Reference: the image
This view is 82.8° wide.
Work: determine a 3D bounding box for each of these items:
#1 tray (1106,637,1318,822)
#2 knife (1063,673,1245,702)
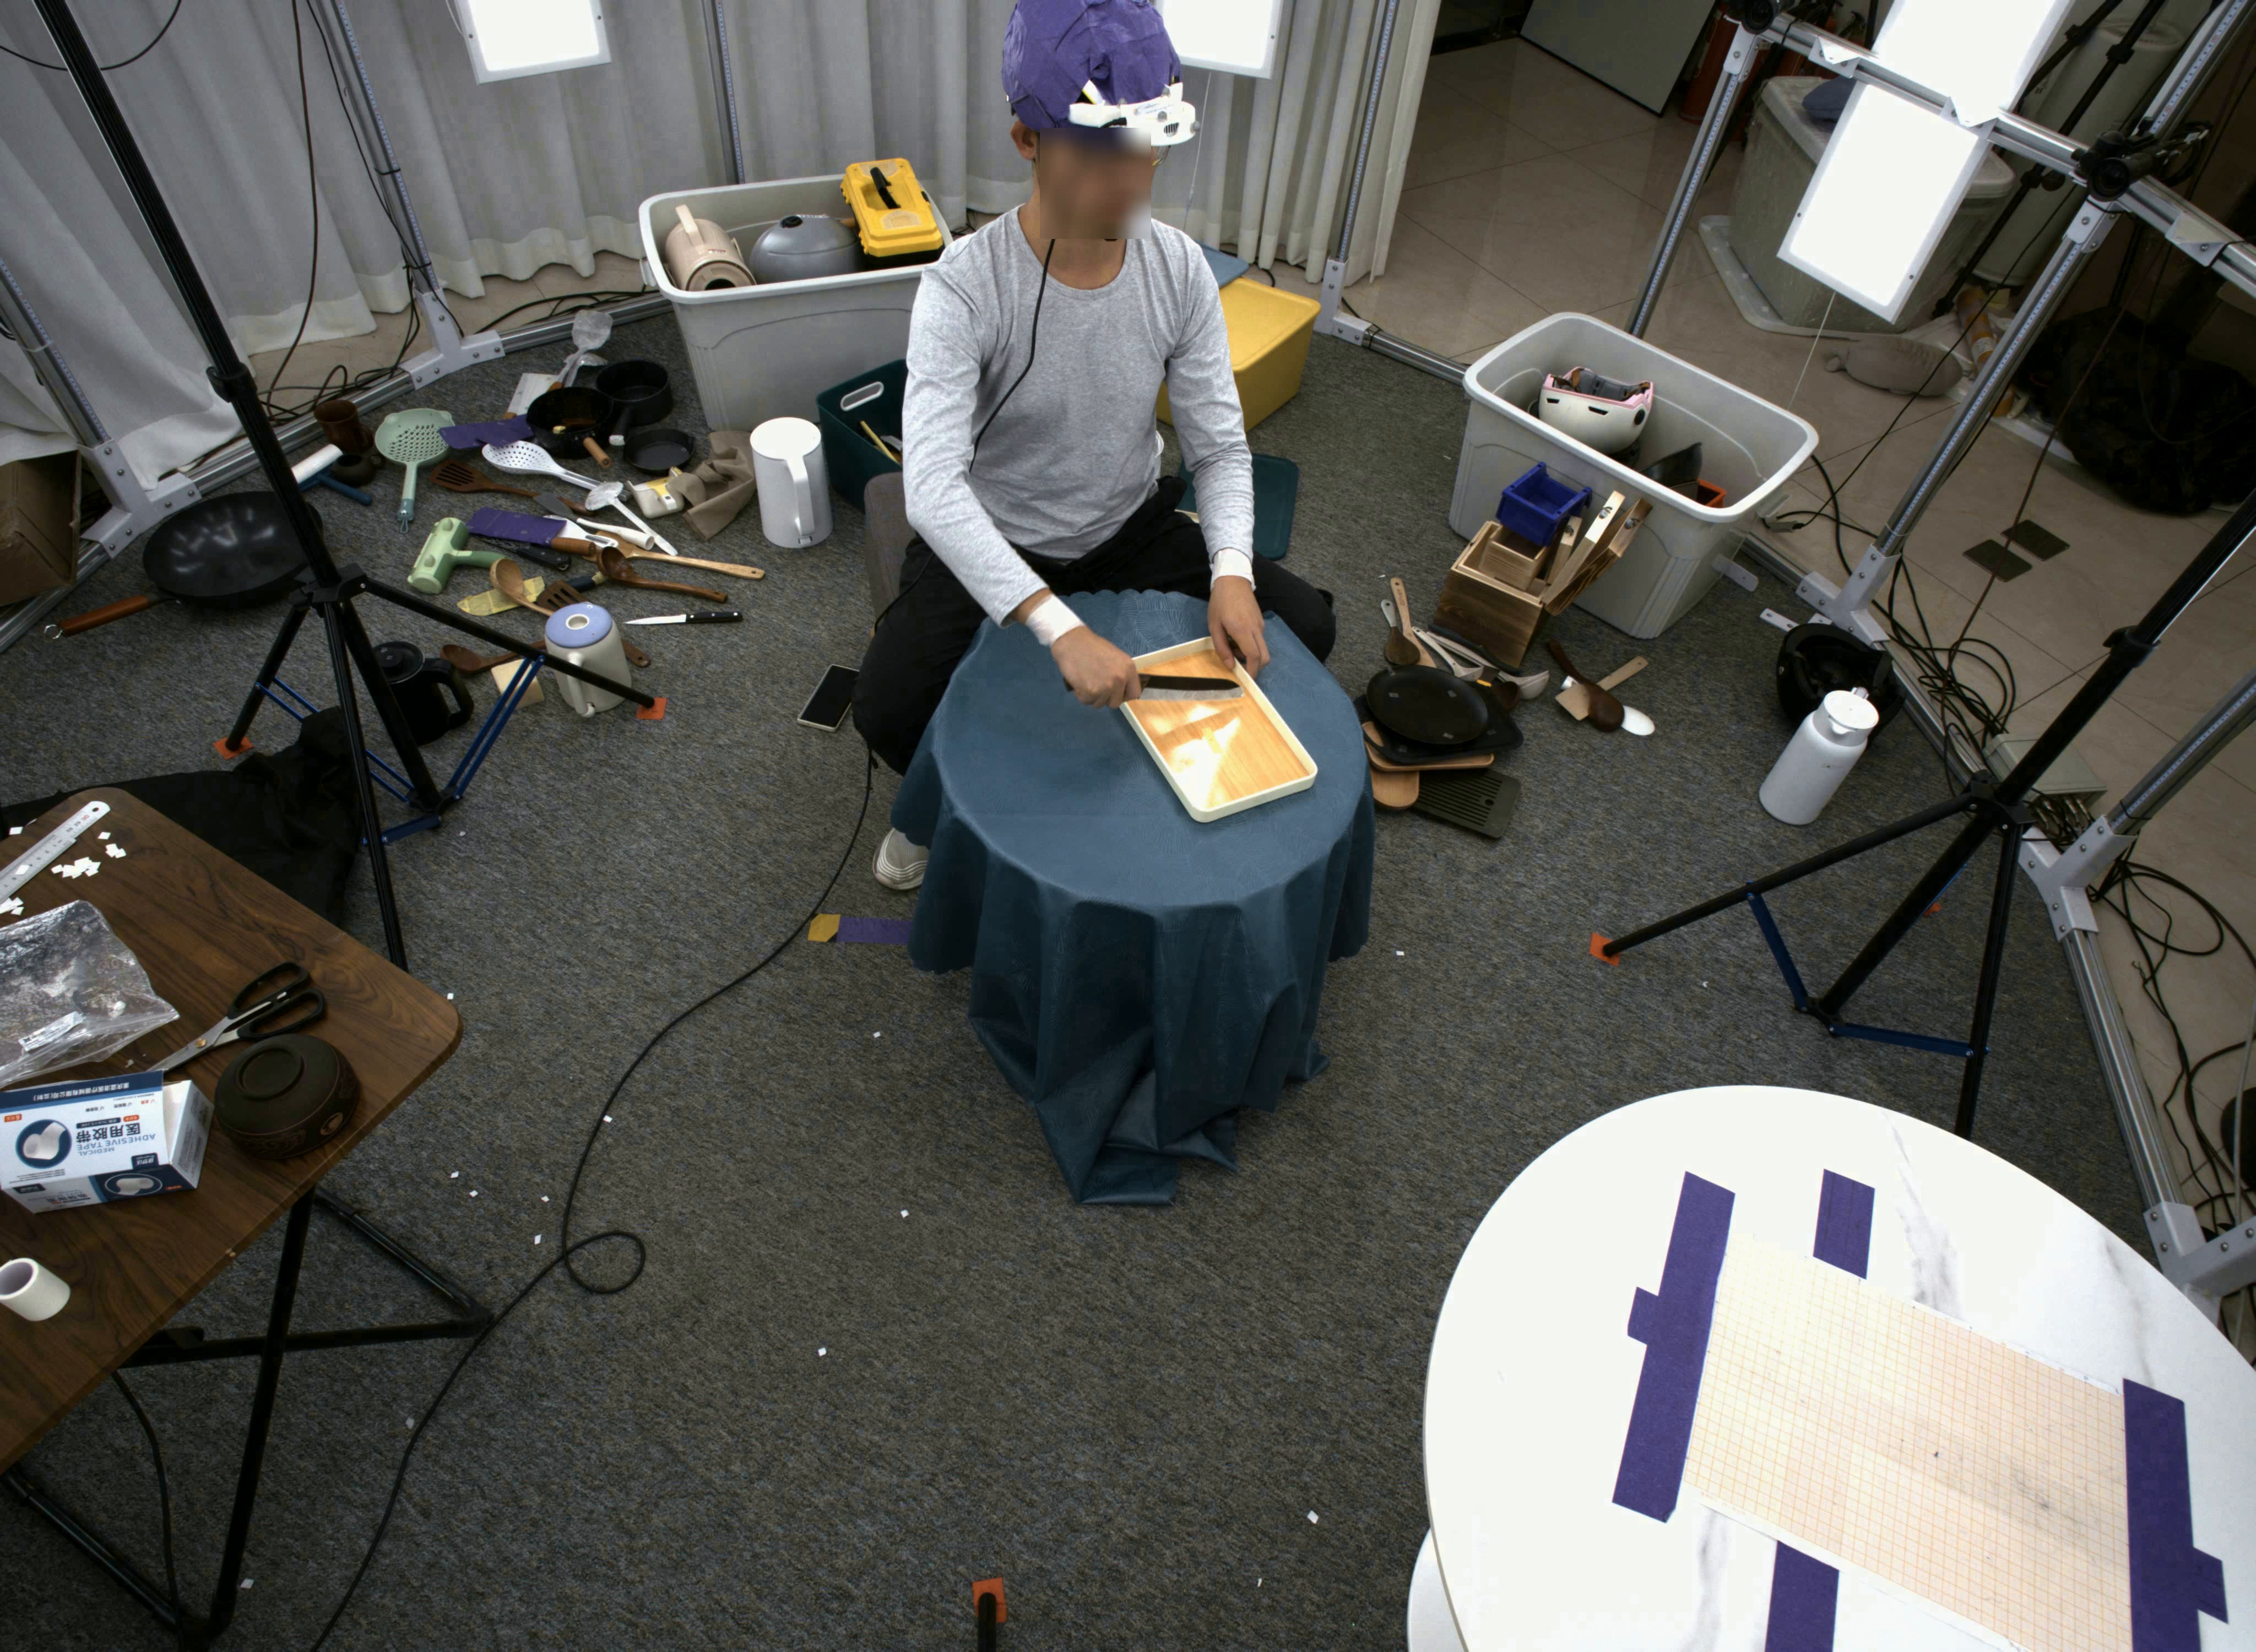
[{"bbox_3d":[0.111,-0.141,1.780,0.192,0.027,0.307,-18,52,-18],"label":"tray"},{"bbox_3d":[0.040,-0.188,1.748,0.288,0.049,0.020,0,48,-28],"label":"knife"}]
